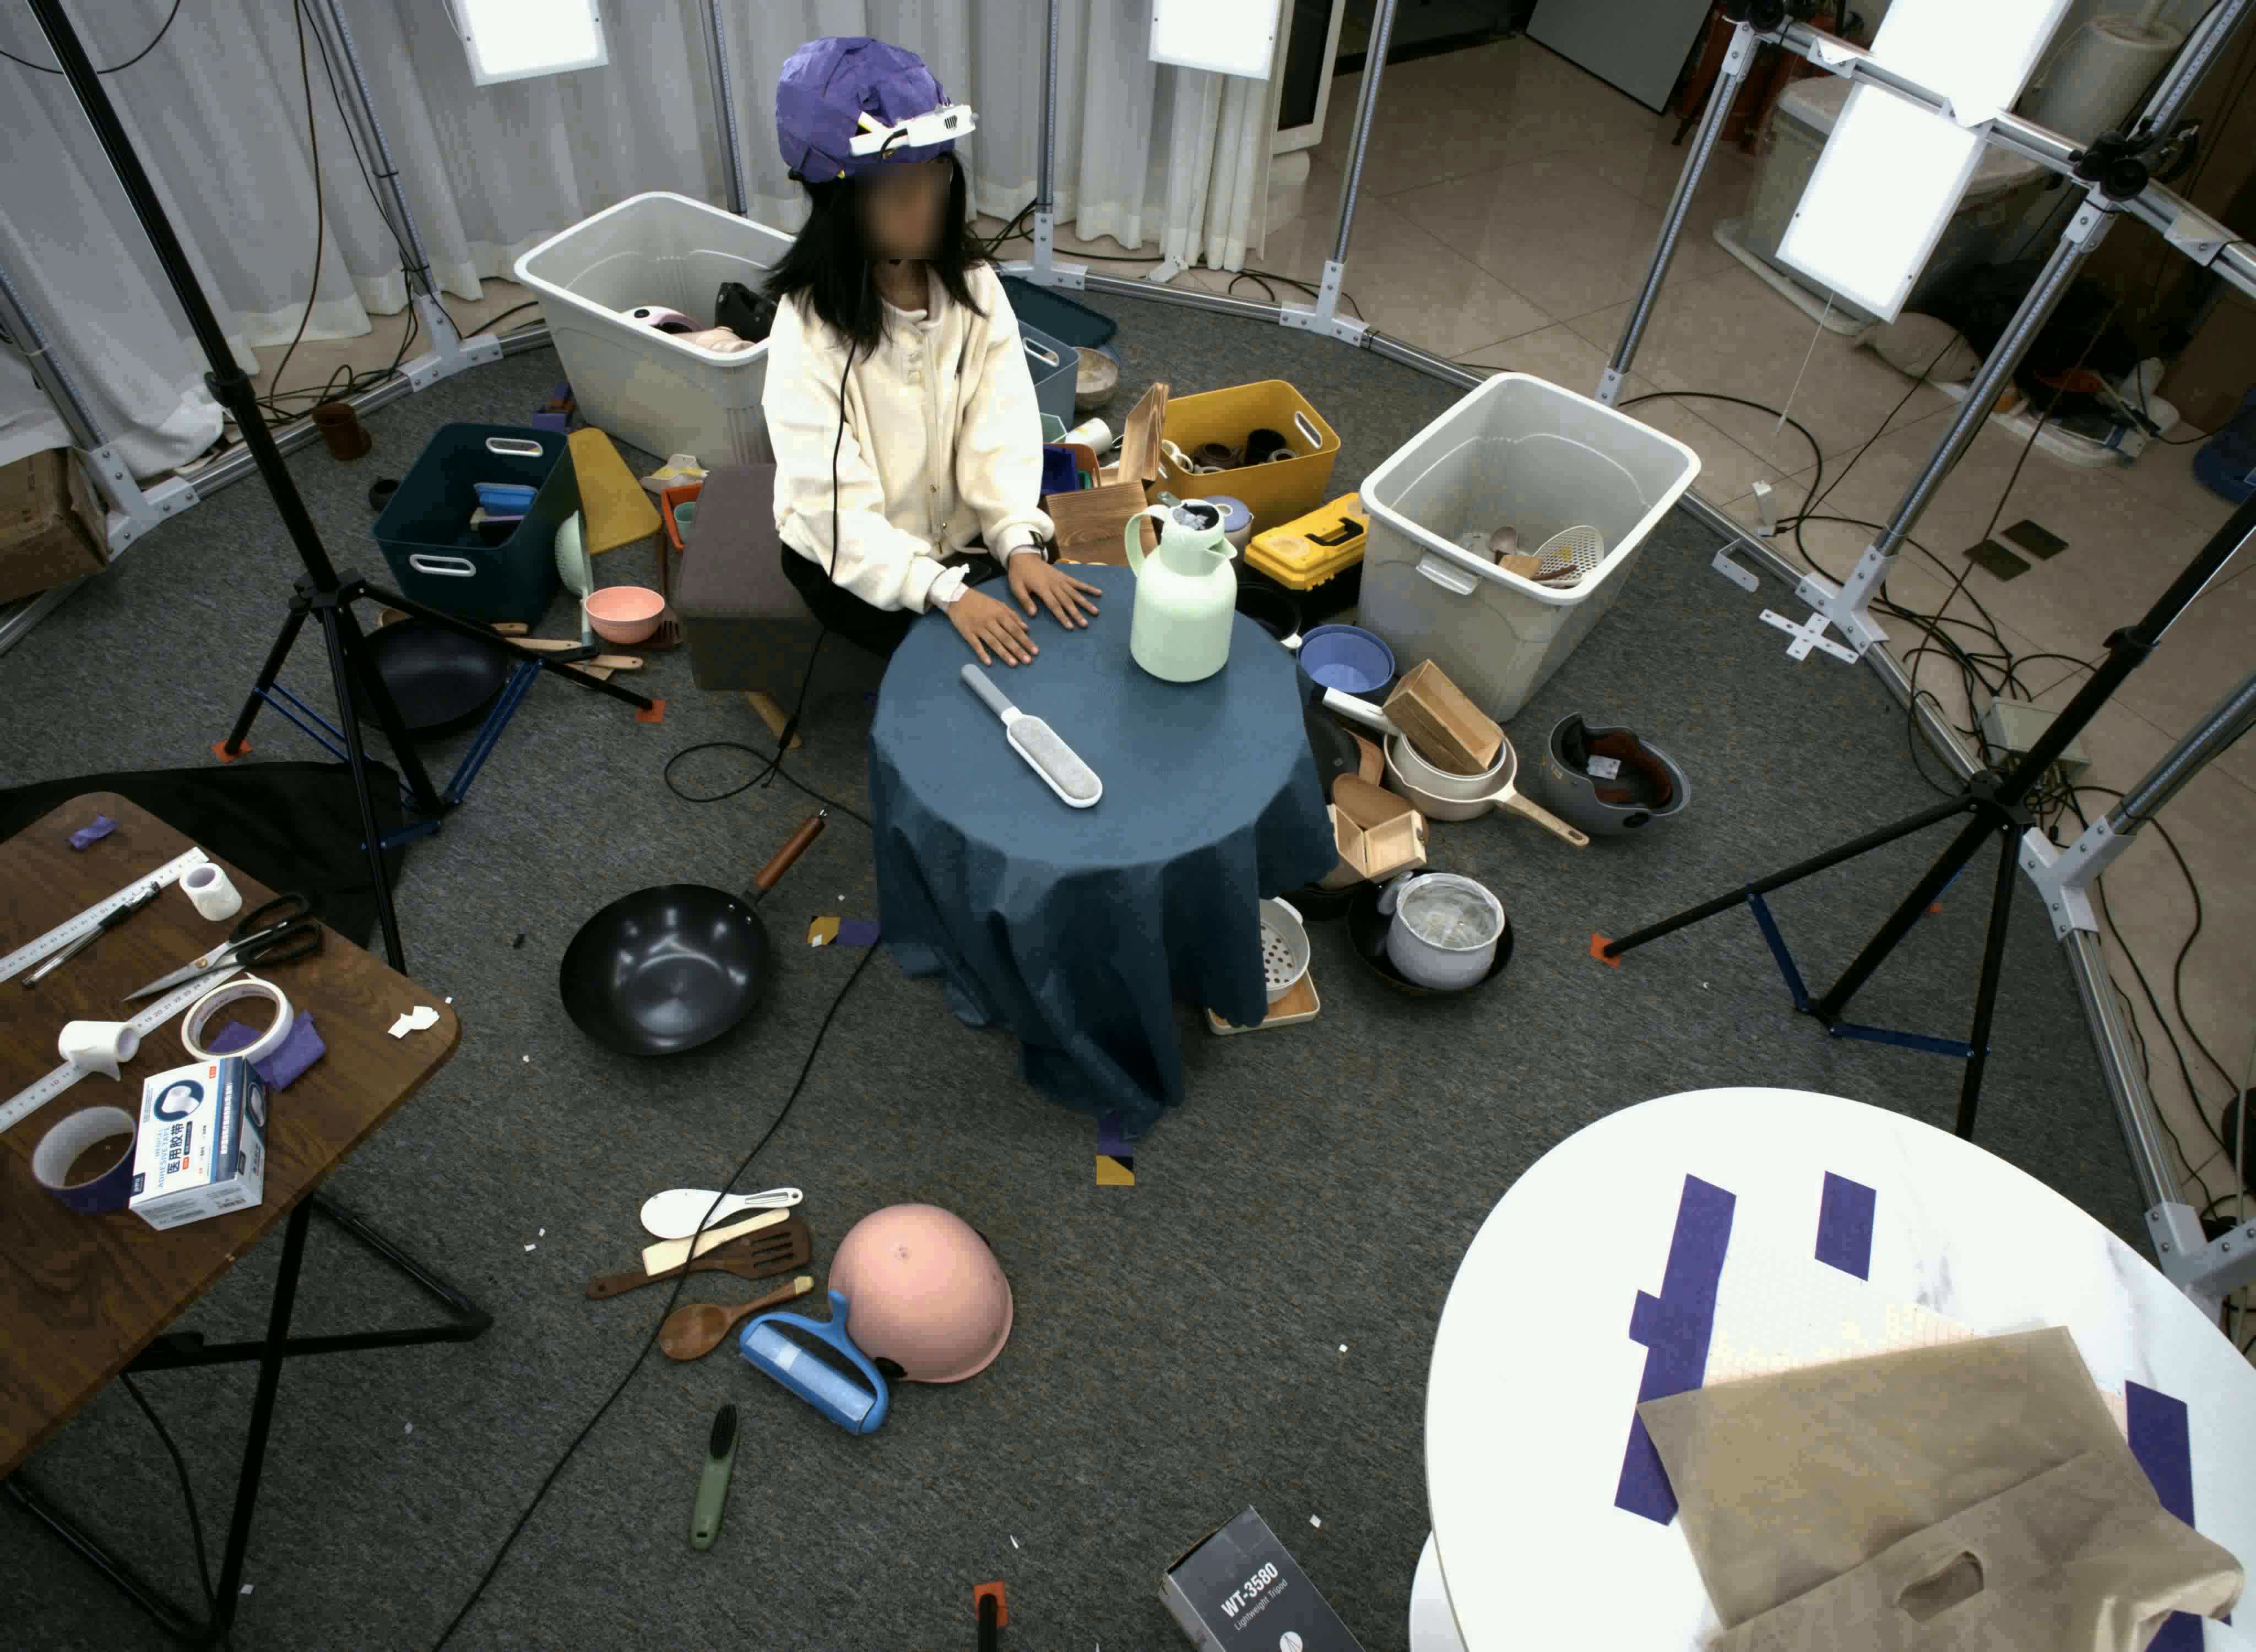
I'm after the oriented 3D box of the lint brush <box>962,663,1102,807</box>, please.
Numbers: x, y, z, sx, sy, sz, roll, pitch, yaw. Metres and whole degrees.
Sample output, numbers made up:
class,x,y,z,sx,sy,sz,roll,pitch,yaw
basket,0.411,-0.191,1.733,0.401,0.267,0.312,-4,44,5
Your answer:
class,x,y,z,sx,sy,sz,roll,pitch,yaw
lint brush,-0.137,-0.130,1.758,0.060,0.020,0.315,-29,56,-23

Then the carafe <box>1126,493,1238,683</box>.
class,x,y,z,sx,sy,sz,roll,pitch,yaw
carafe,0.073,-0.341,1.810,0.189,0.250,0.145,36,57,28
